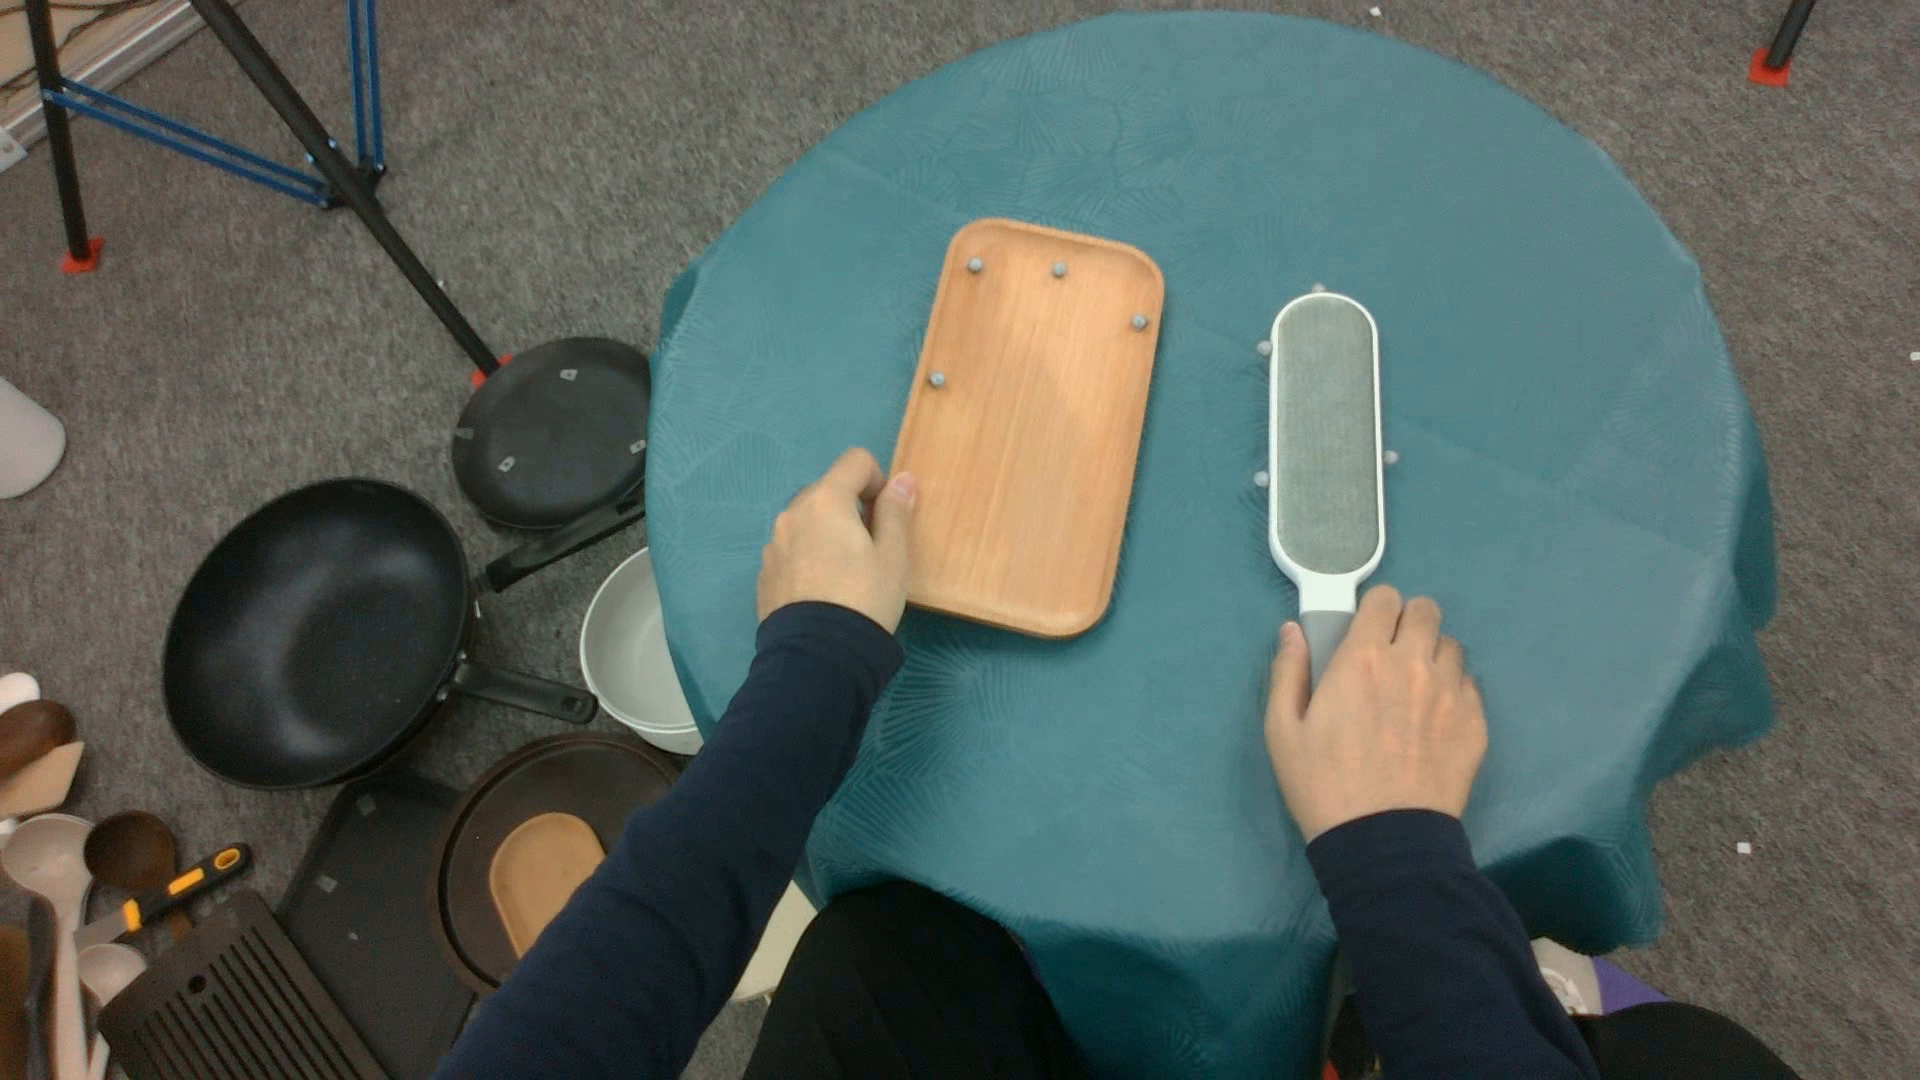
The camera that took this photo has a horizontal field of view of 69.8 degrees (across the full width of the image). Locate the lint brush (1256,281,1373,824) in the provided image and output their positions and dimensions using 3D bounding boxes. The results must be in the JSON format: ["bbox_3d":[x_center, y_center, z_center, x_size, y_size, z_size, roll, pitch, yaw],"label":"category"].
[{"bbox_3d":[0.179,-0.007,0.699,0.060,0.021,0.310,6,62,2],"label":"lint brush"}]

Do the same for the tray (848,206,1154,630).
[{"bbox_3d":[0.027,-0.072,0.749,0.130,0.023,0.251,14,64,2],"label":"tray"}]
